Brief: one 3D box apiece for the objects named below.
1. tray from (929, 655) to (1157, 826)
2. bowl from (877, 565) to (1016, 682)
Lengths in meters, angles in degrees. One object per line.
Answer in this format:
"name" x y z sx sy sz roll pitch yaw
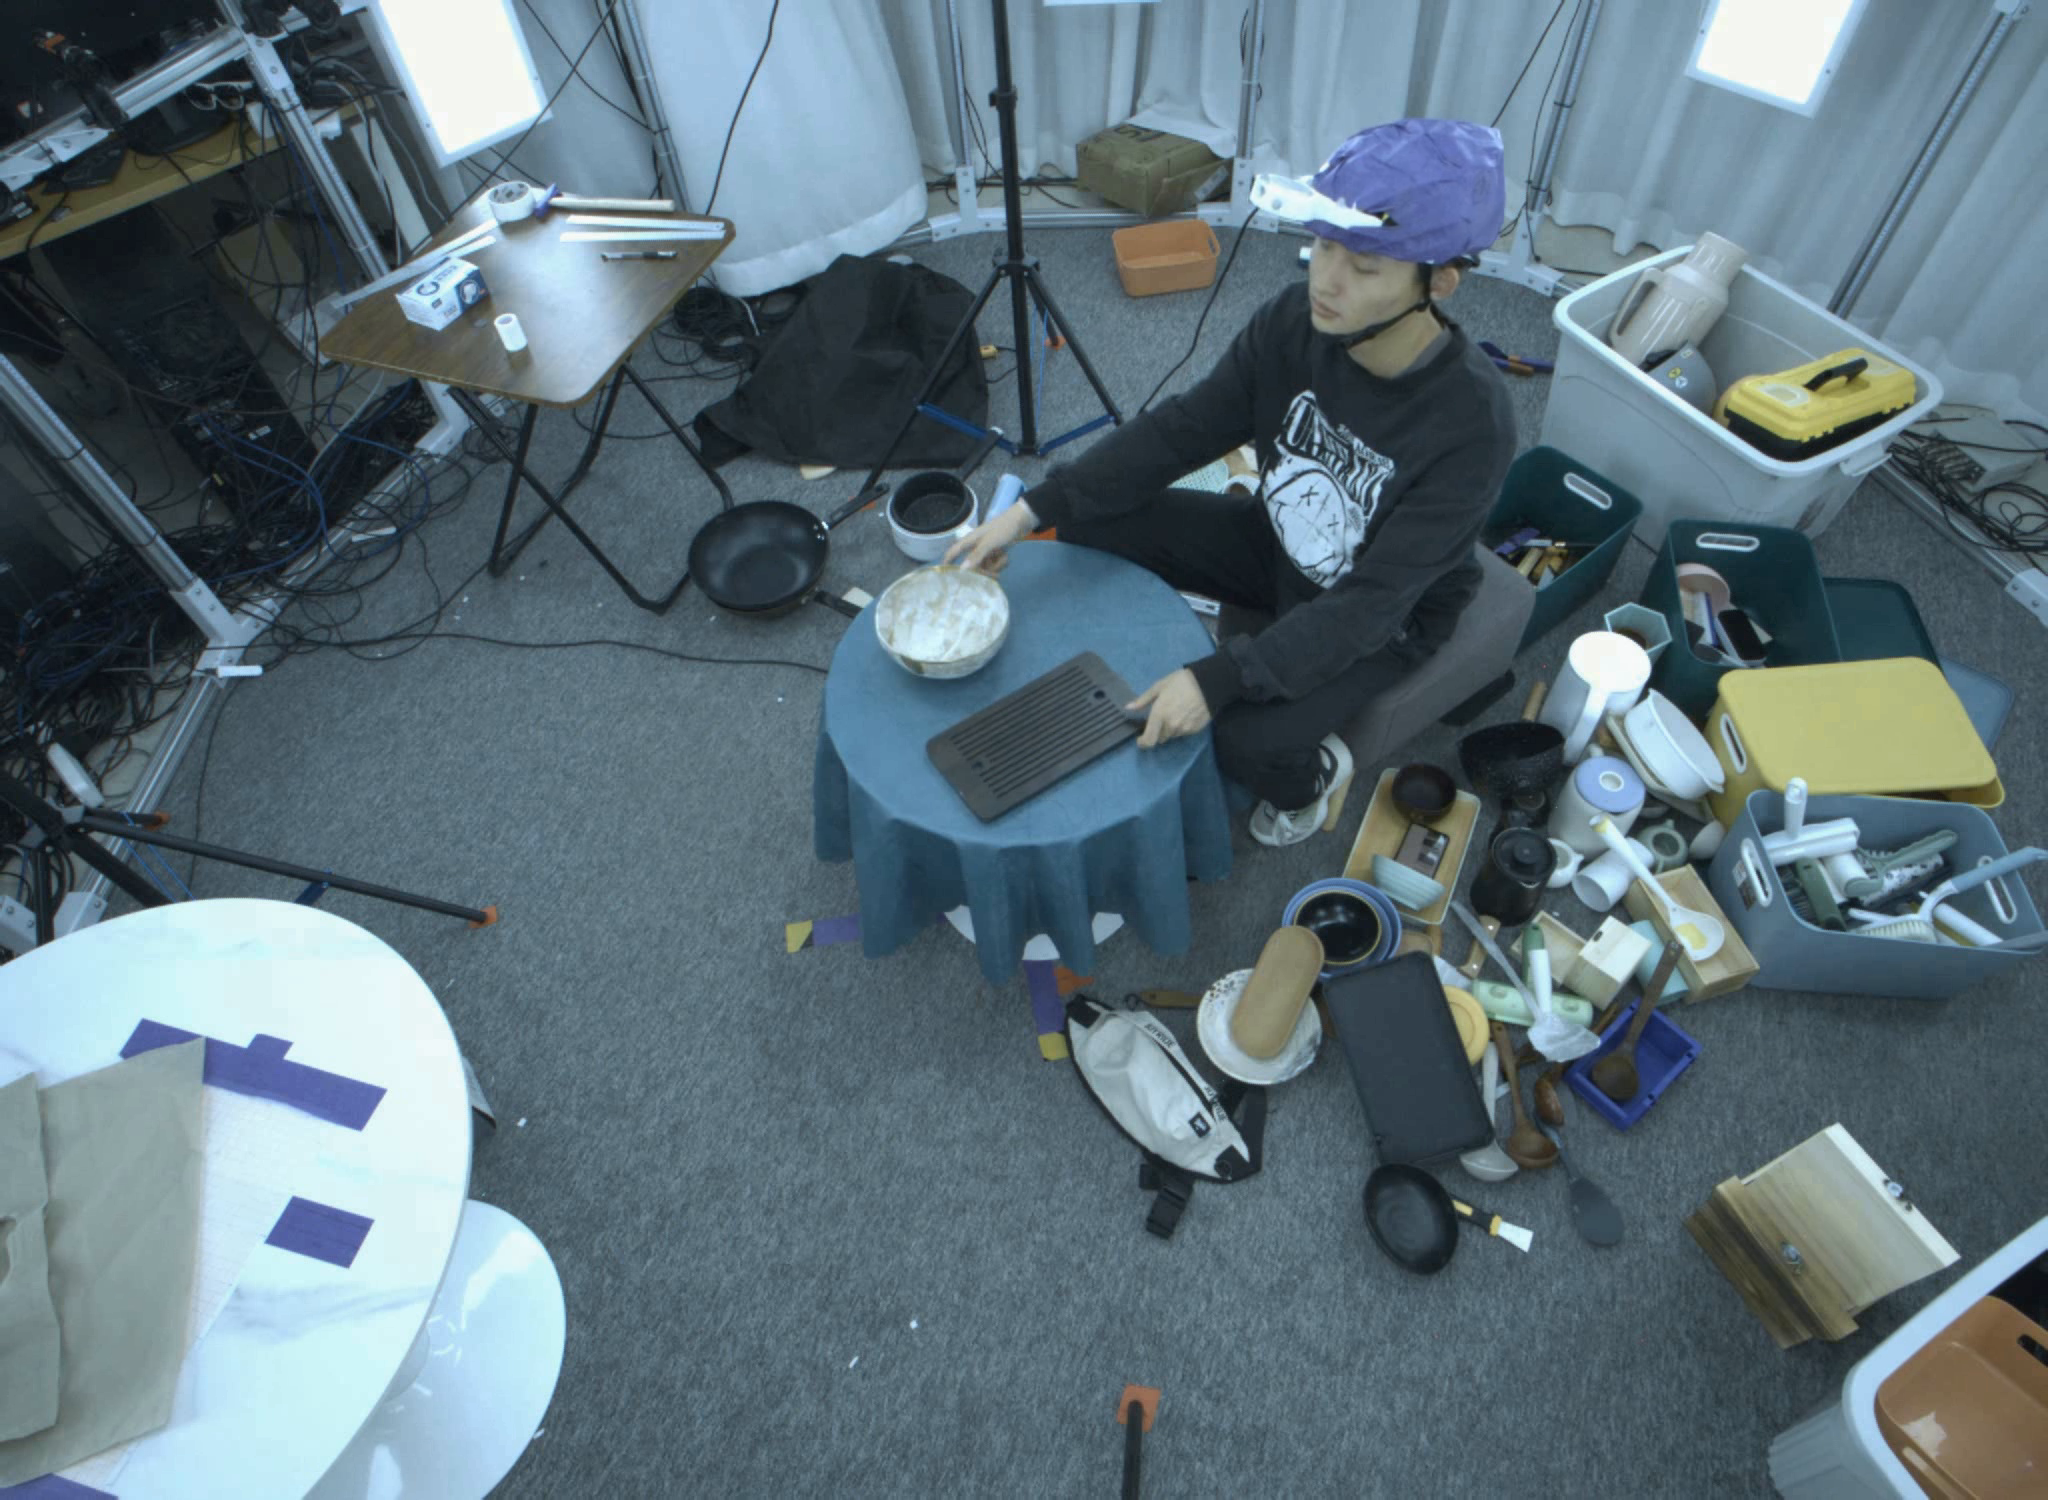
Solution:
"tray" 0.028 -0.017 1.798 0.308 0.019 0.167 -30 59 -18
"bowl" -0.114 -0.175 1.867 0.214 0.095 0.212 -1 54 2
